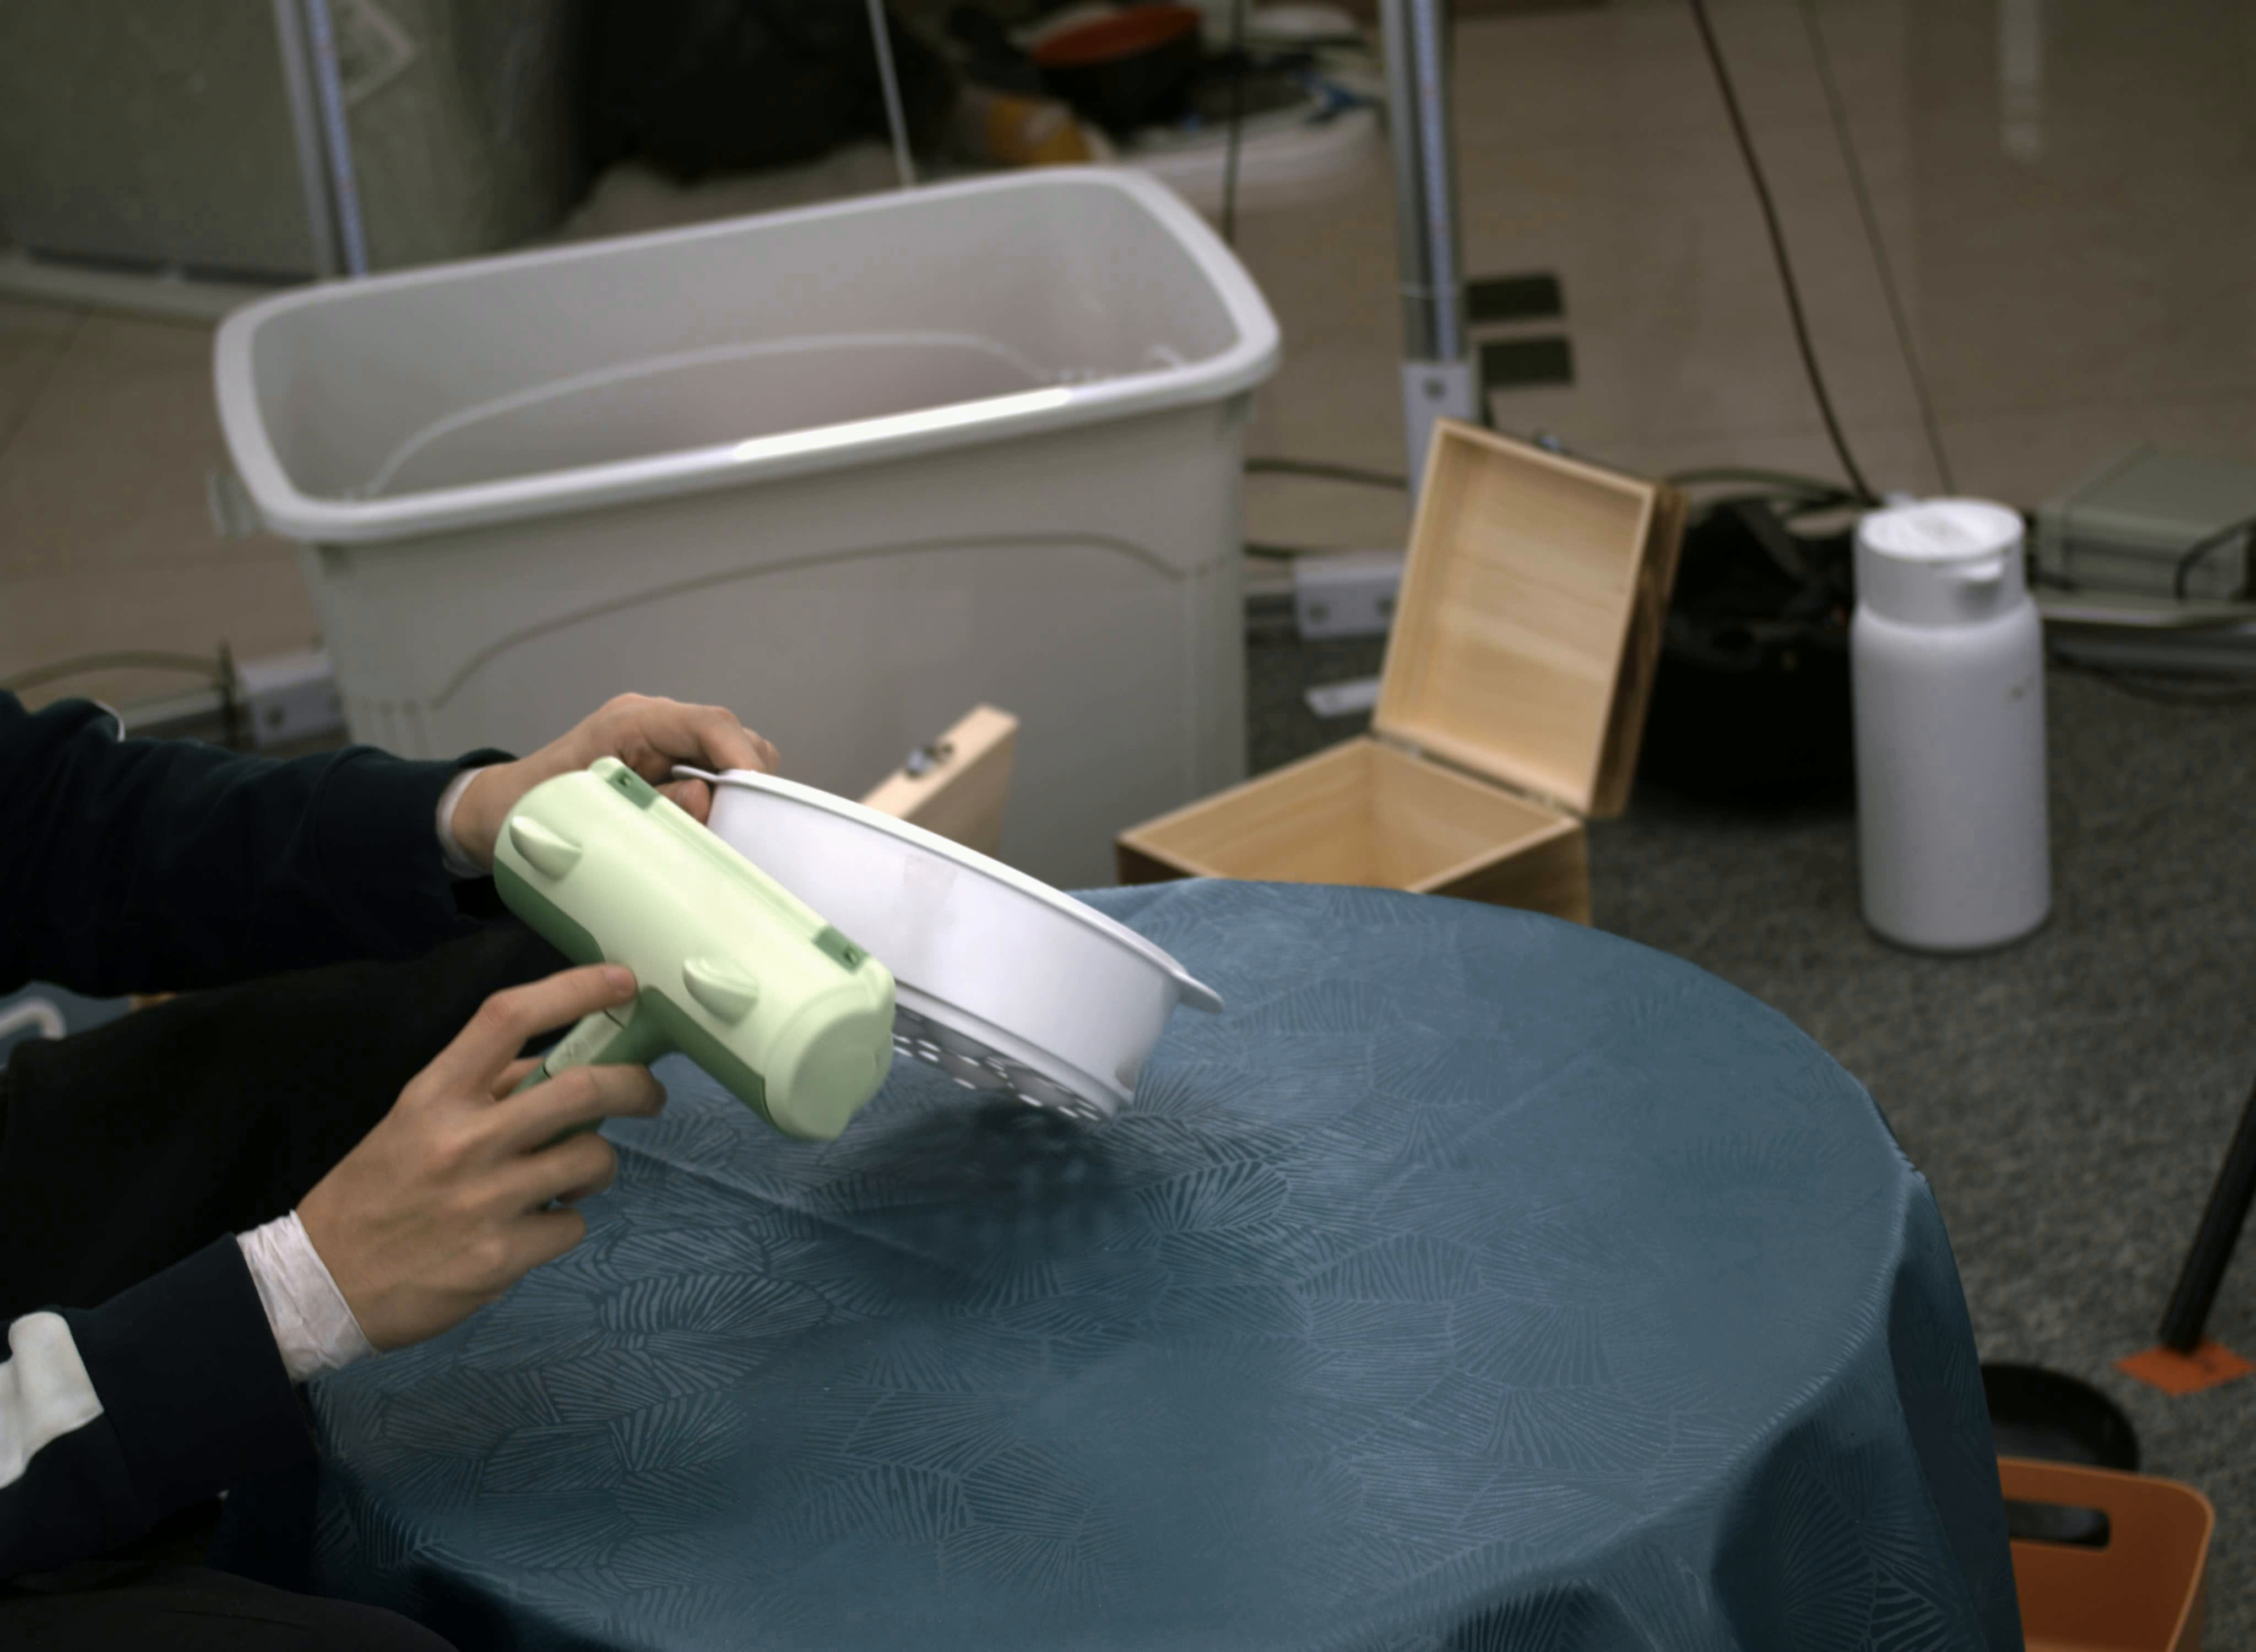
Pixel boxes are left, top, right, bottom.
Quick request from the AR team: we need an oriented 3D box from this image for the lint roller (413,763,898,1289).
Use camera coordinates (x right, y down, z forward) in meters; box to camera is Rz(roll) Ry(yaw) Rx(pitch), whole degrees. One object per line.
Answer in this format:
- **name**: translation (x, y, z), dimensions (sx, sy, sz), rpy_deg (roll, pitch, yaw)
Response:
- **lint roller**: translation (-0.197, 0.080, 1.997), dimensions (0.182, 0.083, 0.196), rpy_deg (-45, 48, -9)

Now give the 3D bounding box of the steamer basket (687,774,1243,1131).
- **steamer basket**: translation (-0.073, 0.052, 2.150), dimensions (0.230, 0.069, 0.203), rpy_deg (23, -7, 4)
